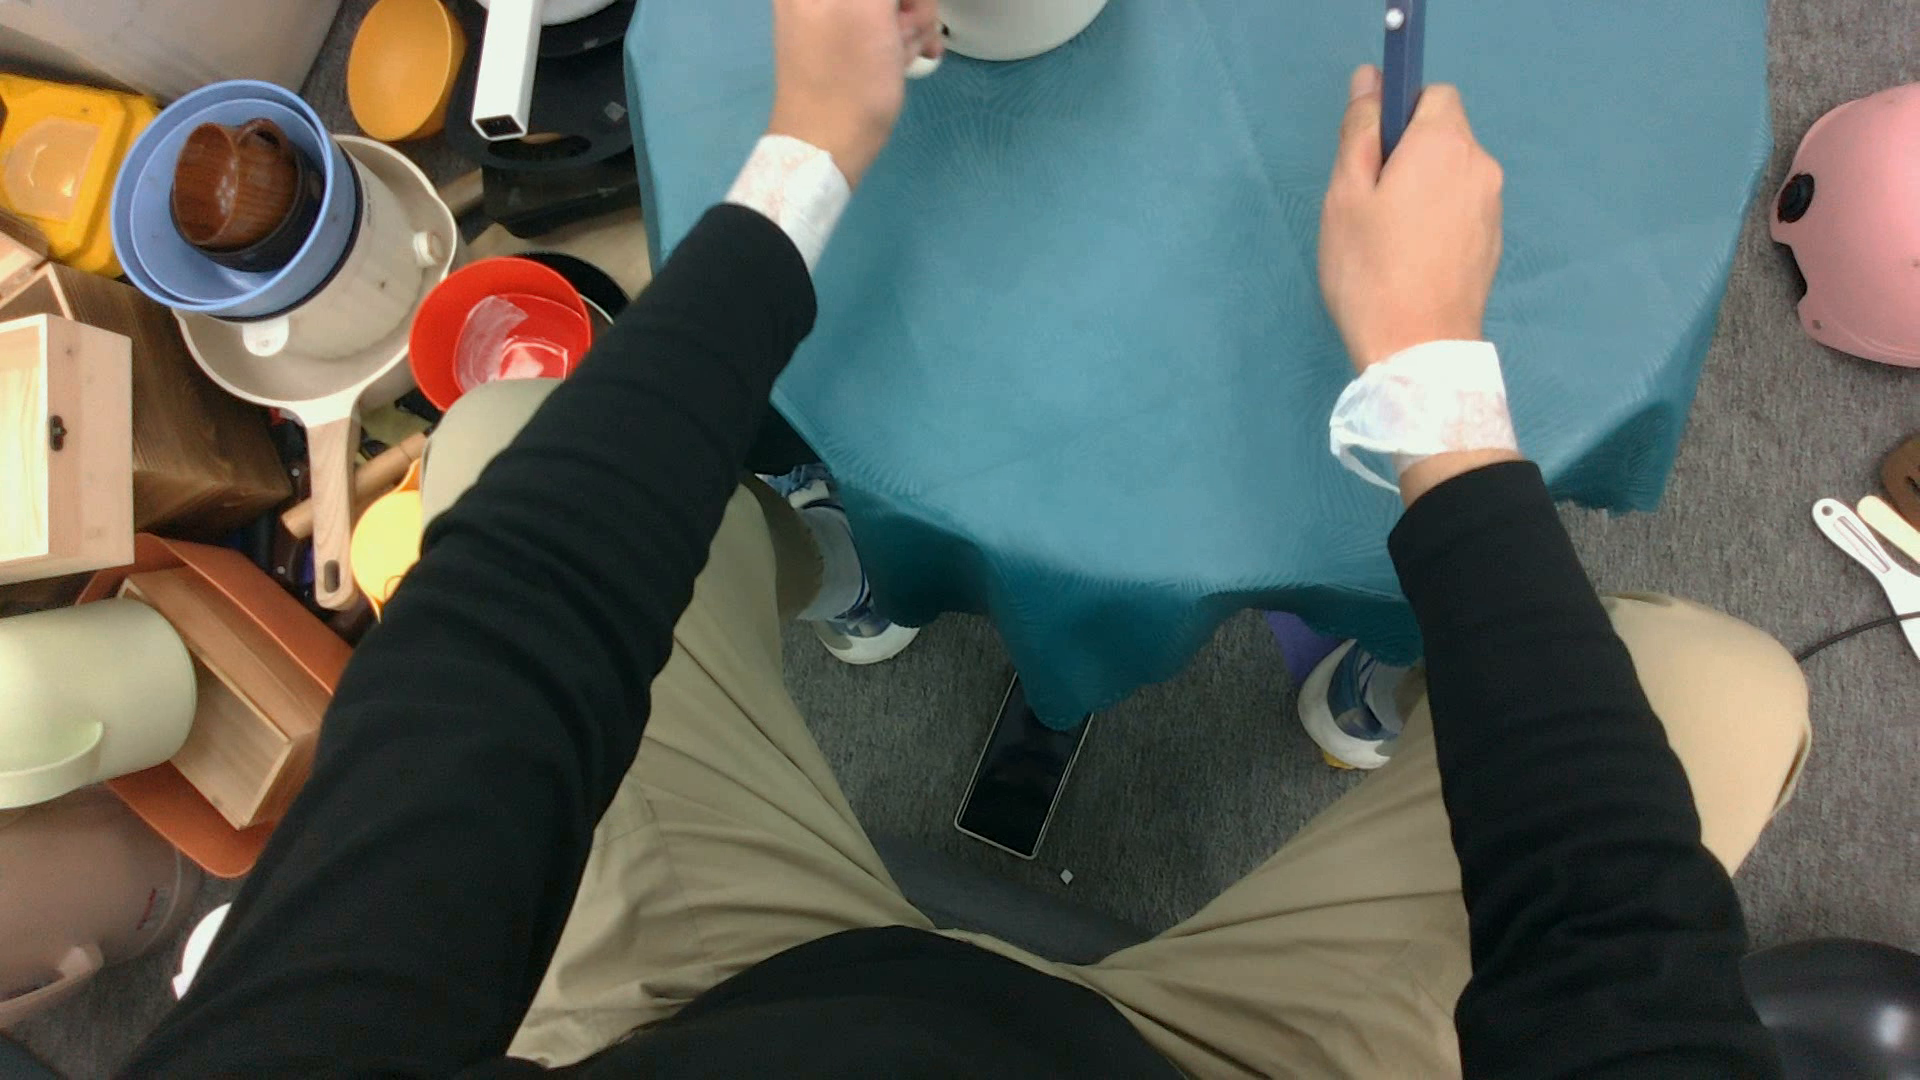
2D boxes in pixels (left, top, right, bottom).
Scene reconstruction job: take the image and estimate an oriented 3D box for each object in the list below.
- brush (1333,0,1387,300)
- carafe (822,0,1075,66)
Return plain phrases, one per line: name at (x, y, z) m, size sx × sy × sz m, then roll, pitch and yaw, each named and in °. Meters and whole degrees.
brush at (0.178, -0.239, 0.582) m, size 0.095 × 0.034 × 0.272 m, roll -1°, pitch 116°, yaw 33°
carafe at (-0.006, -0.315, 0.658) m, size 0.132 × 0.182 × 0.191 m, roll 36°, pitch 86°, yaw 6°
